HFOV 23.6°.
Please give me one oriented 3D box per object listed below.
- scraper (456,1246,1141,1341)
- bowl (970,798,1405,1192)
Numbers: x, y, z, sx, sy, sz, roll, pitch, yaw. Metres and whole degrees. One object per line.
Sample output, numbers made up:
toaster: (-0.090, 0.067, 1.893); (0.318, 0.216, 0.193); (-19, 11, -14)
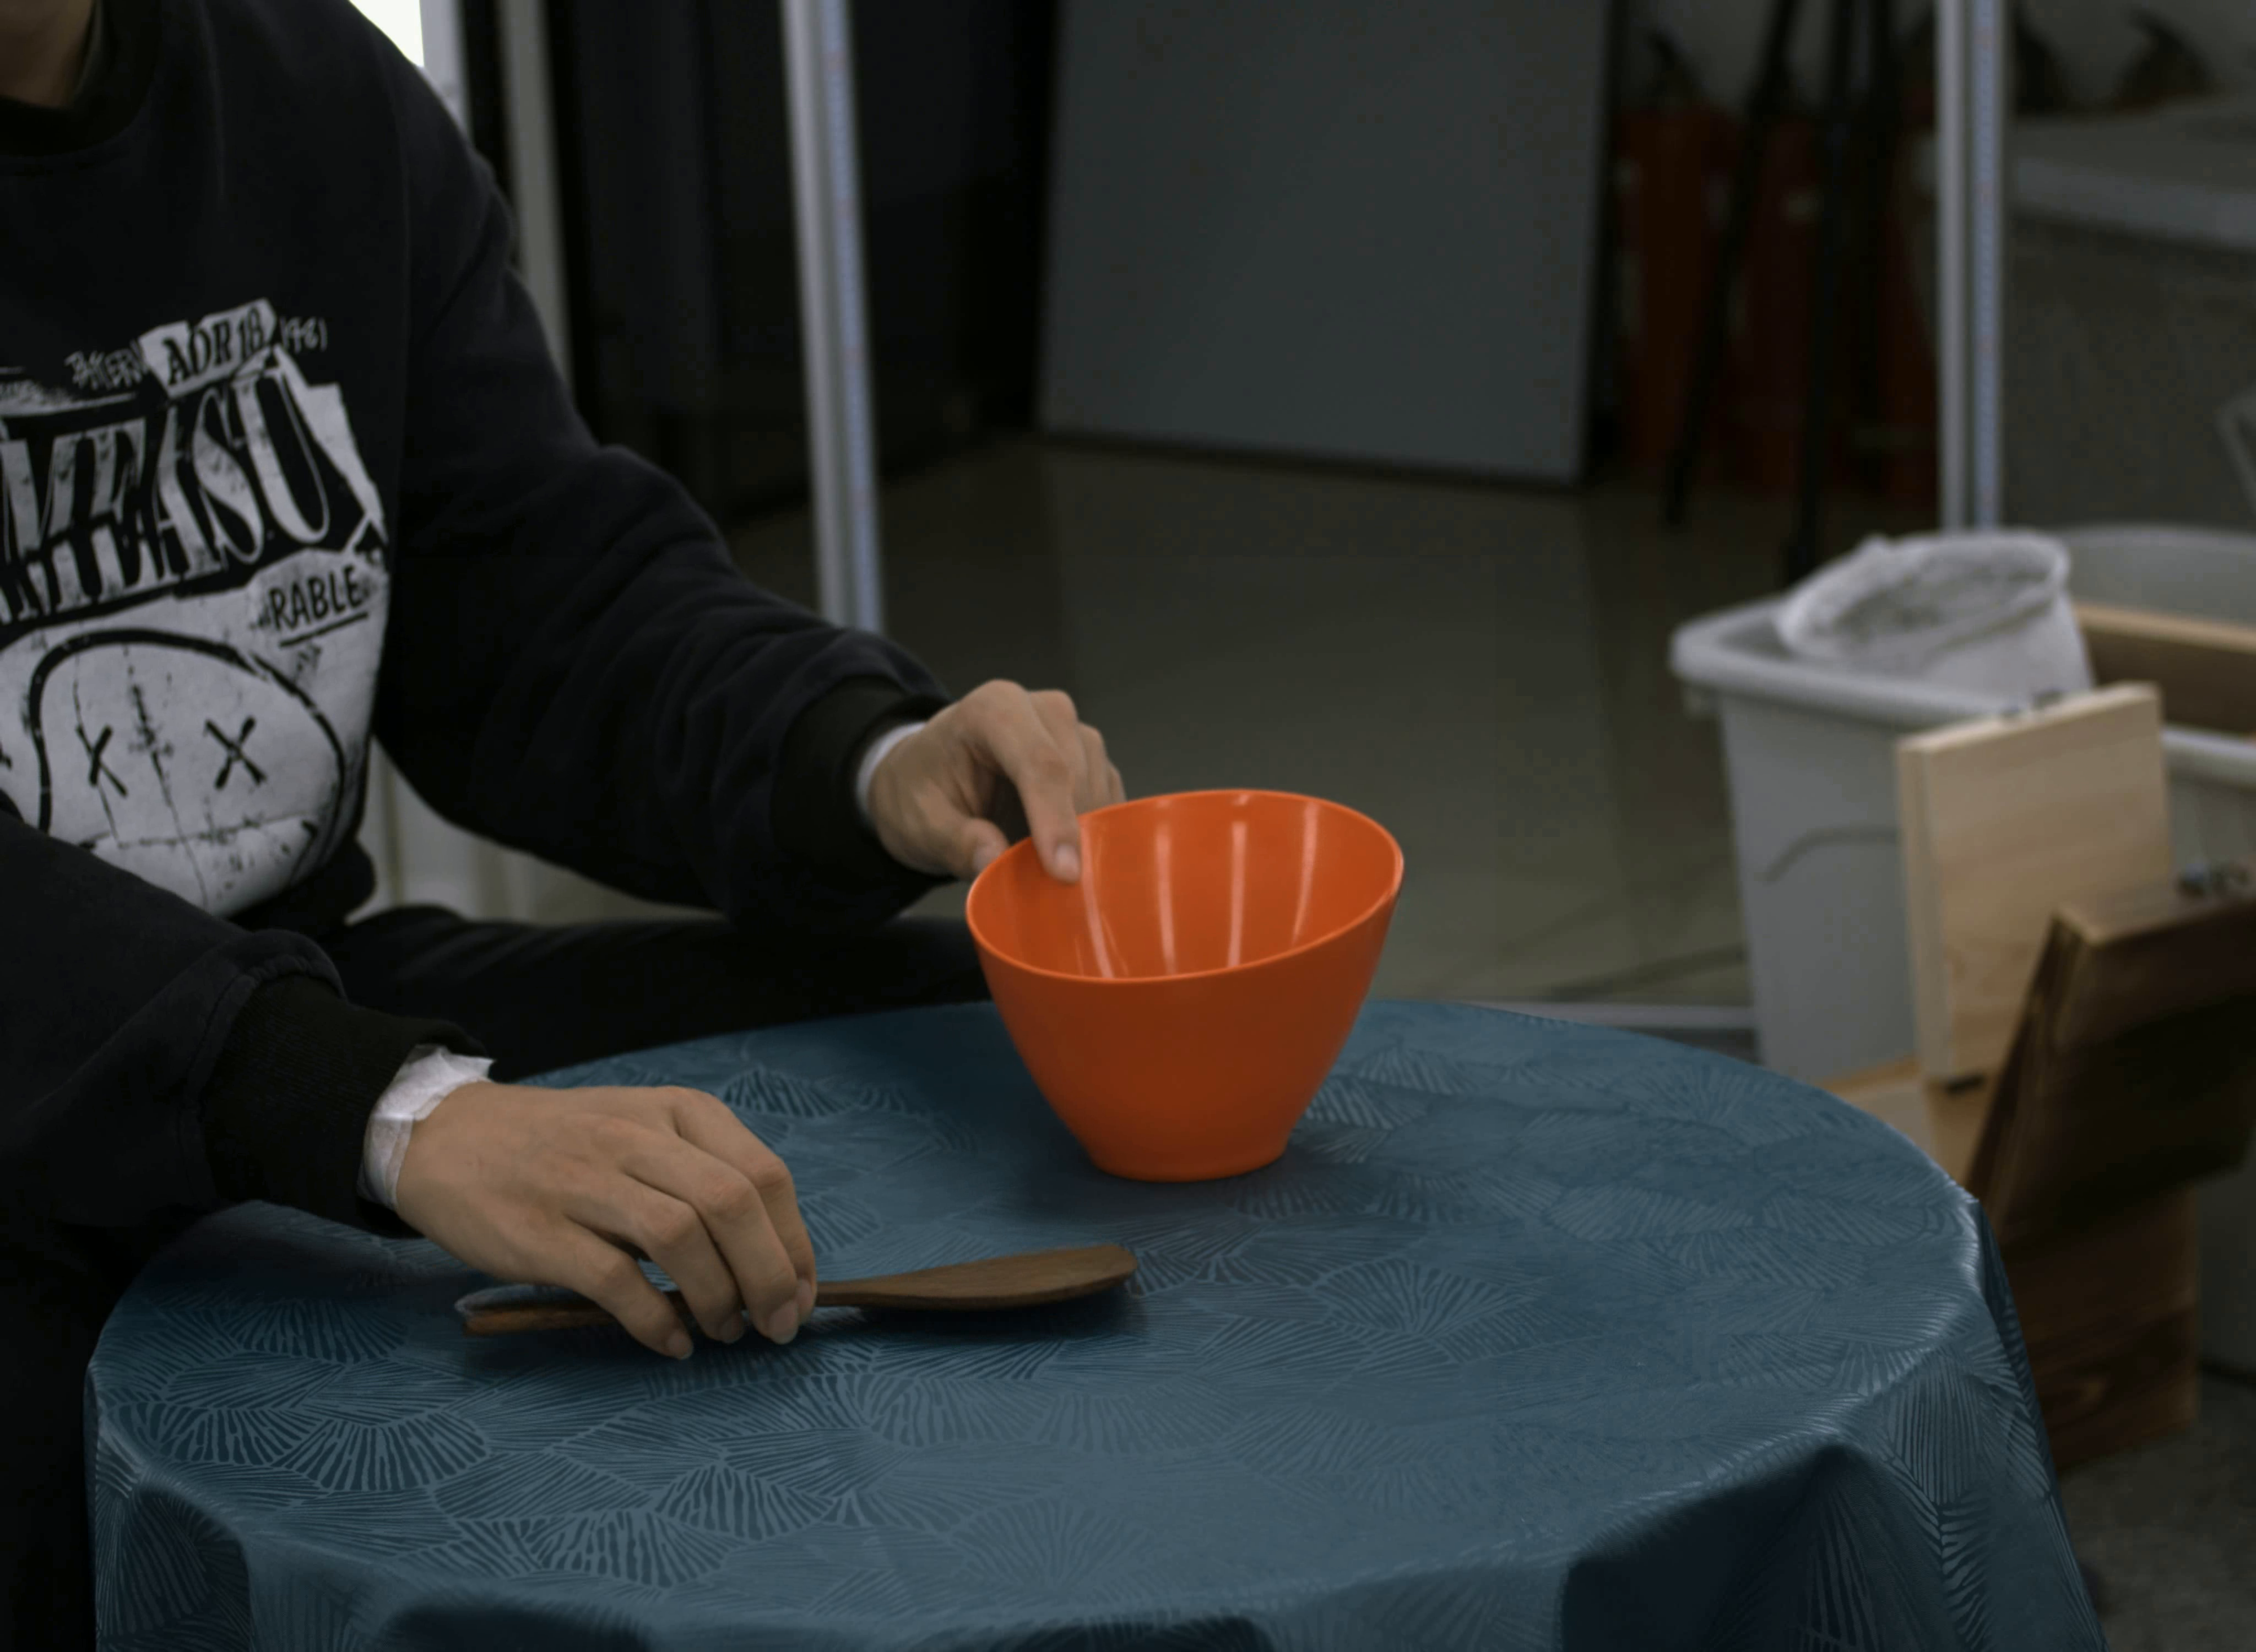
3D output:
scraper: (-0.101, 0.146, 1.656); (0.208, 0.011, 0.076); (-4, 4, -7)
bowl: (0.022, 0.060, 1.803); (0.146, 0.106, 0.148); (-4, 14, 0)
